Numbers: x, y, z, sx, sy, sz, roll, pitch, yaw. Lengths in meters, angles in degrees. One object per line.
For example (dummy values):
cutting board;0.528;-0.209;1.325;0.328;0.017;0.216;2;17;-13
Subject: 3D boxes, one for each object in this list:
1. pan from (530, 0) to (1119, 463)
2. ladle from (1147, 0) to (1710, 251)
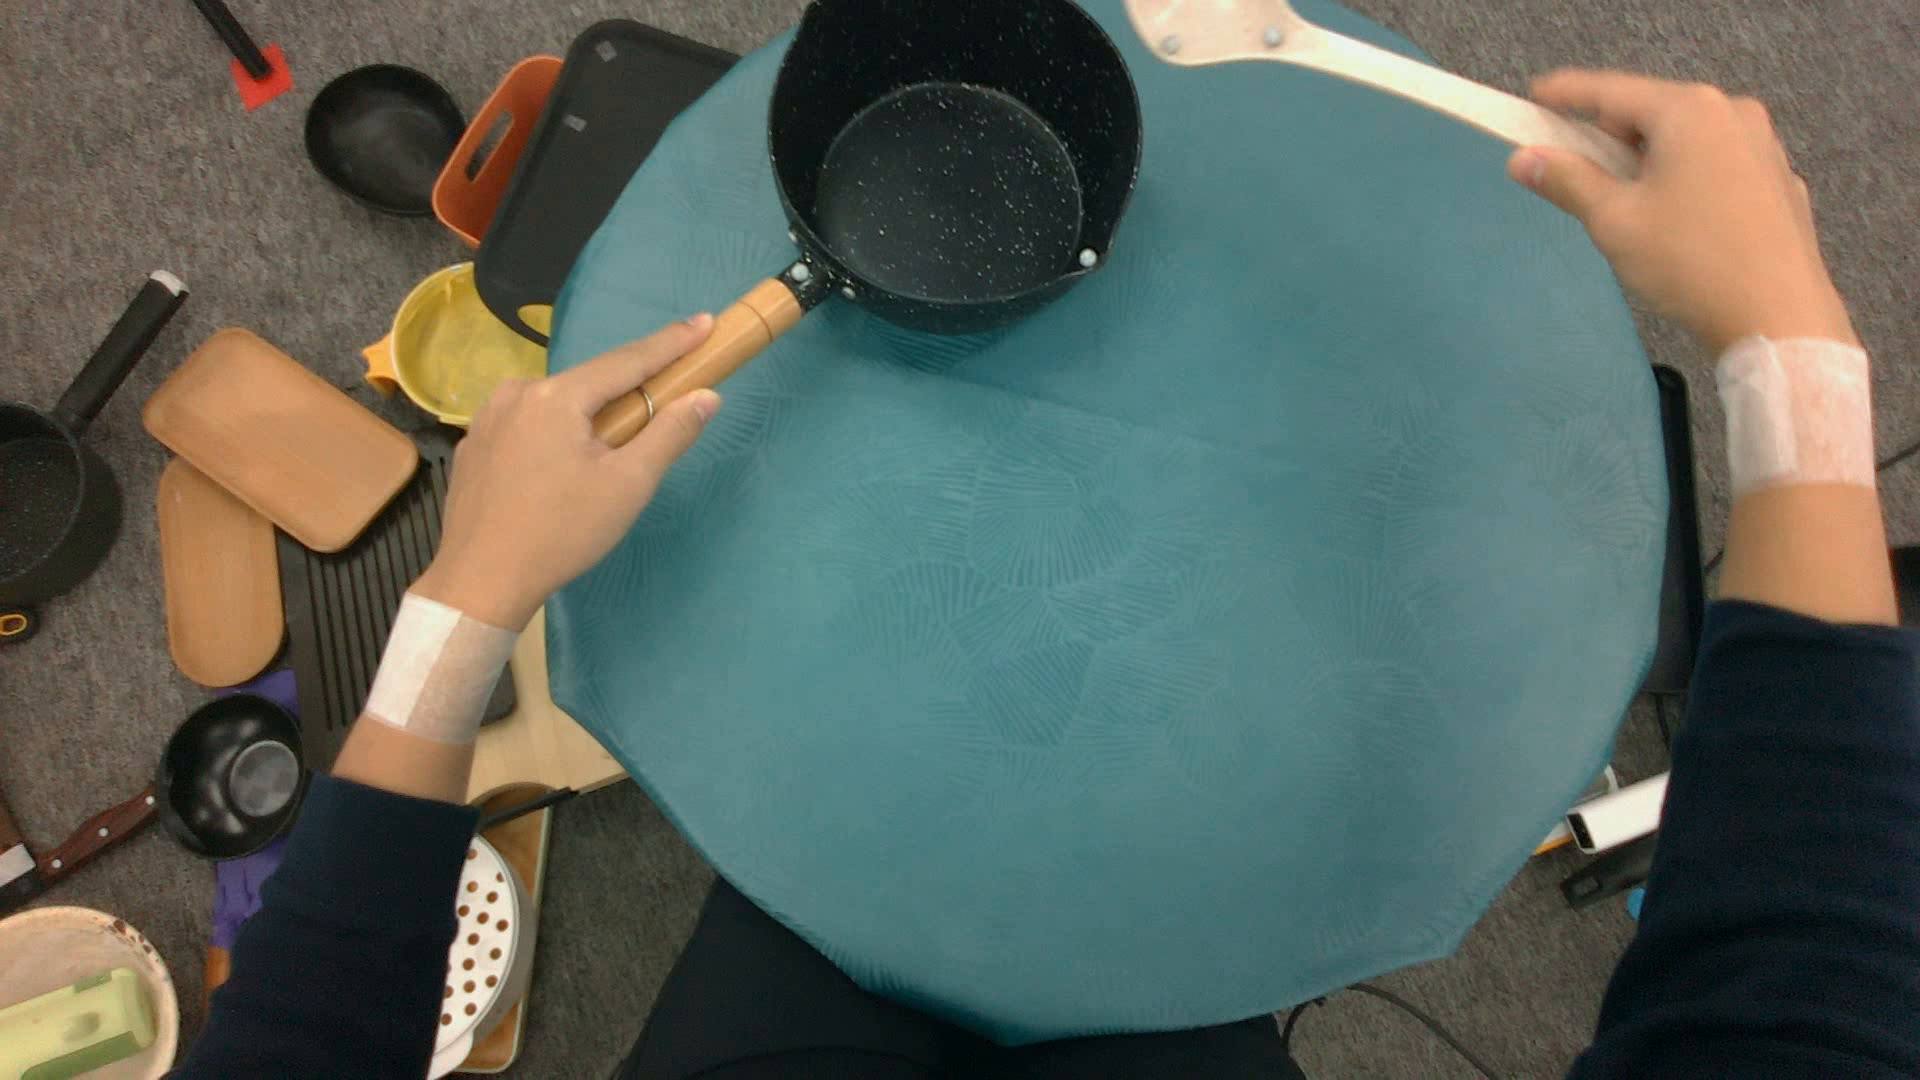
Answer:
pan;-0.069;-0.148;0.685;0.207;0.108;0.343;42;76;5
ladle;0.203;-0.210;0.599;0.275;0.069;0.089;33;68;21
